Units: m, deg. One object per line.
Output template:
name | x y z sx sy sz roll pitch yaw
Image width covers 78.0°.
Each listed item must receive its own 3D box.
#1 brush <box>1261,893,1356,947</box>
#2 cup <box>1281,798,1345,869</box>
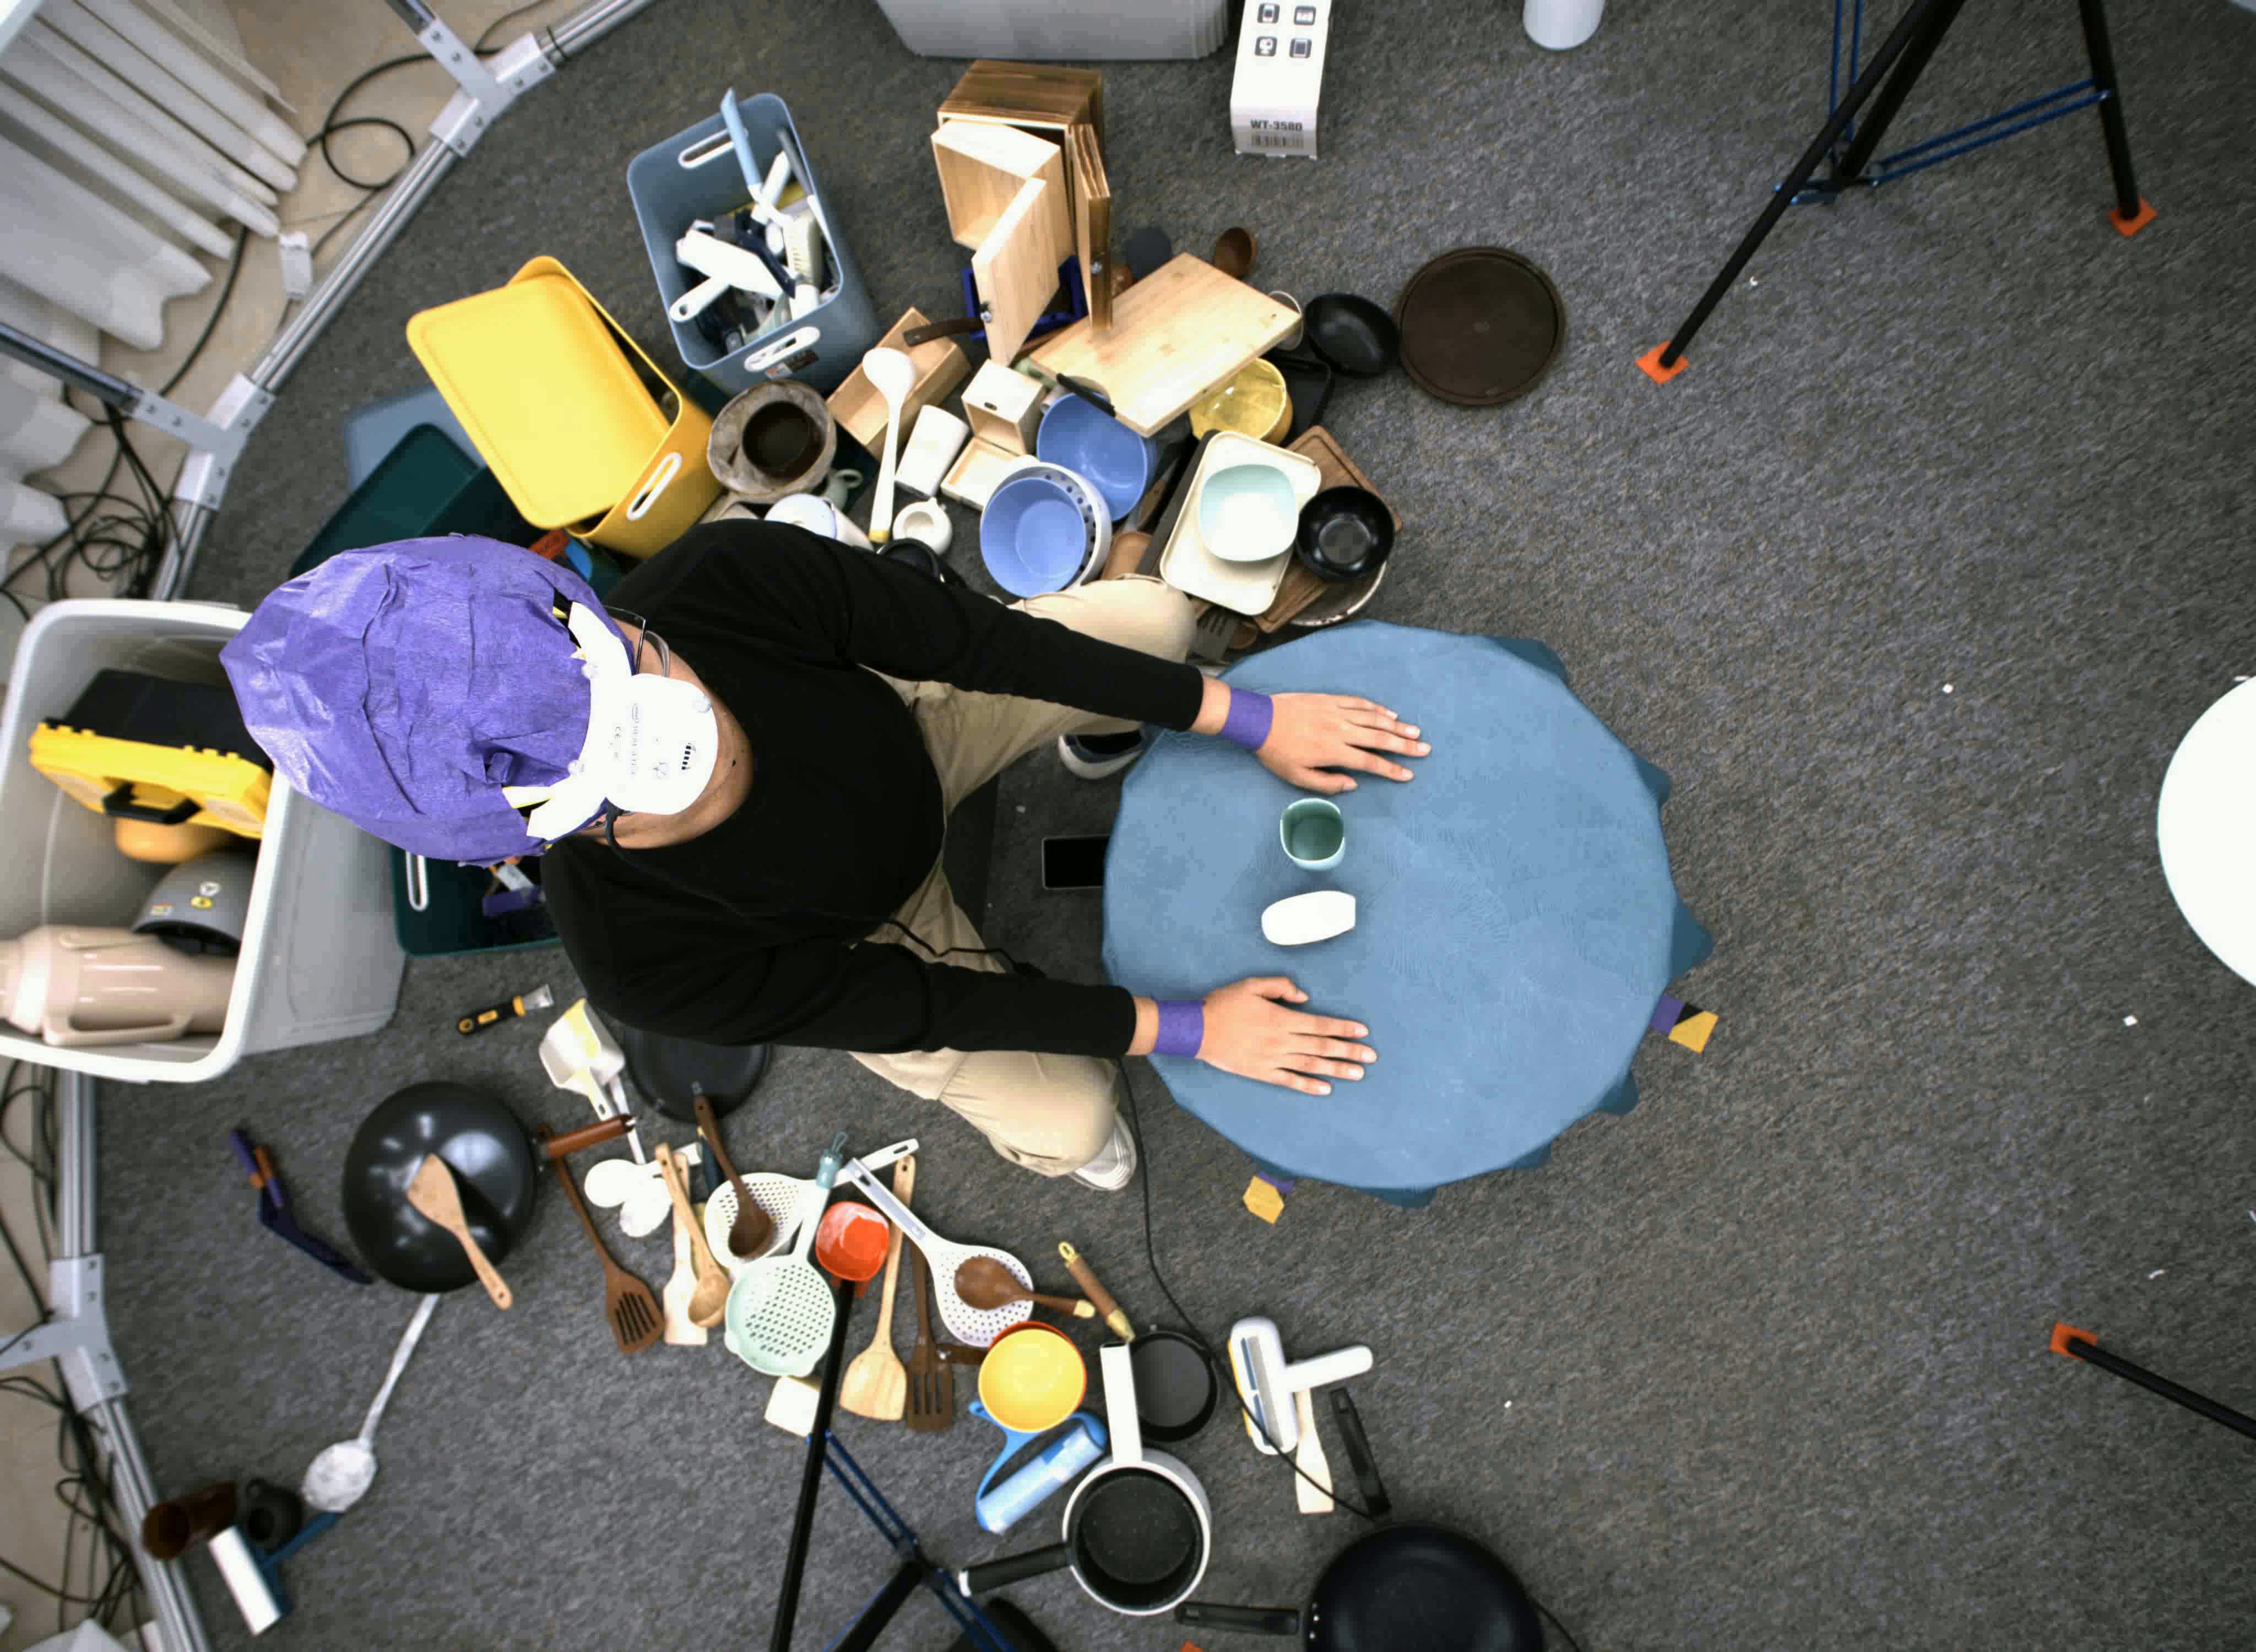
brush | 0.186 0.096 1.435 0.099 0.073 0.050 -11 82 8
cup | 0.191 0.010 1.415 0.067 0.132 0.066 -1 85 9
